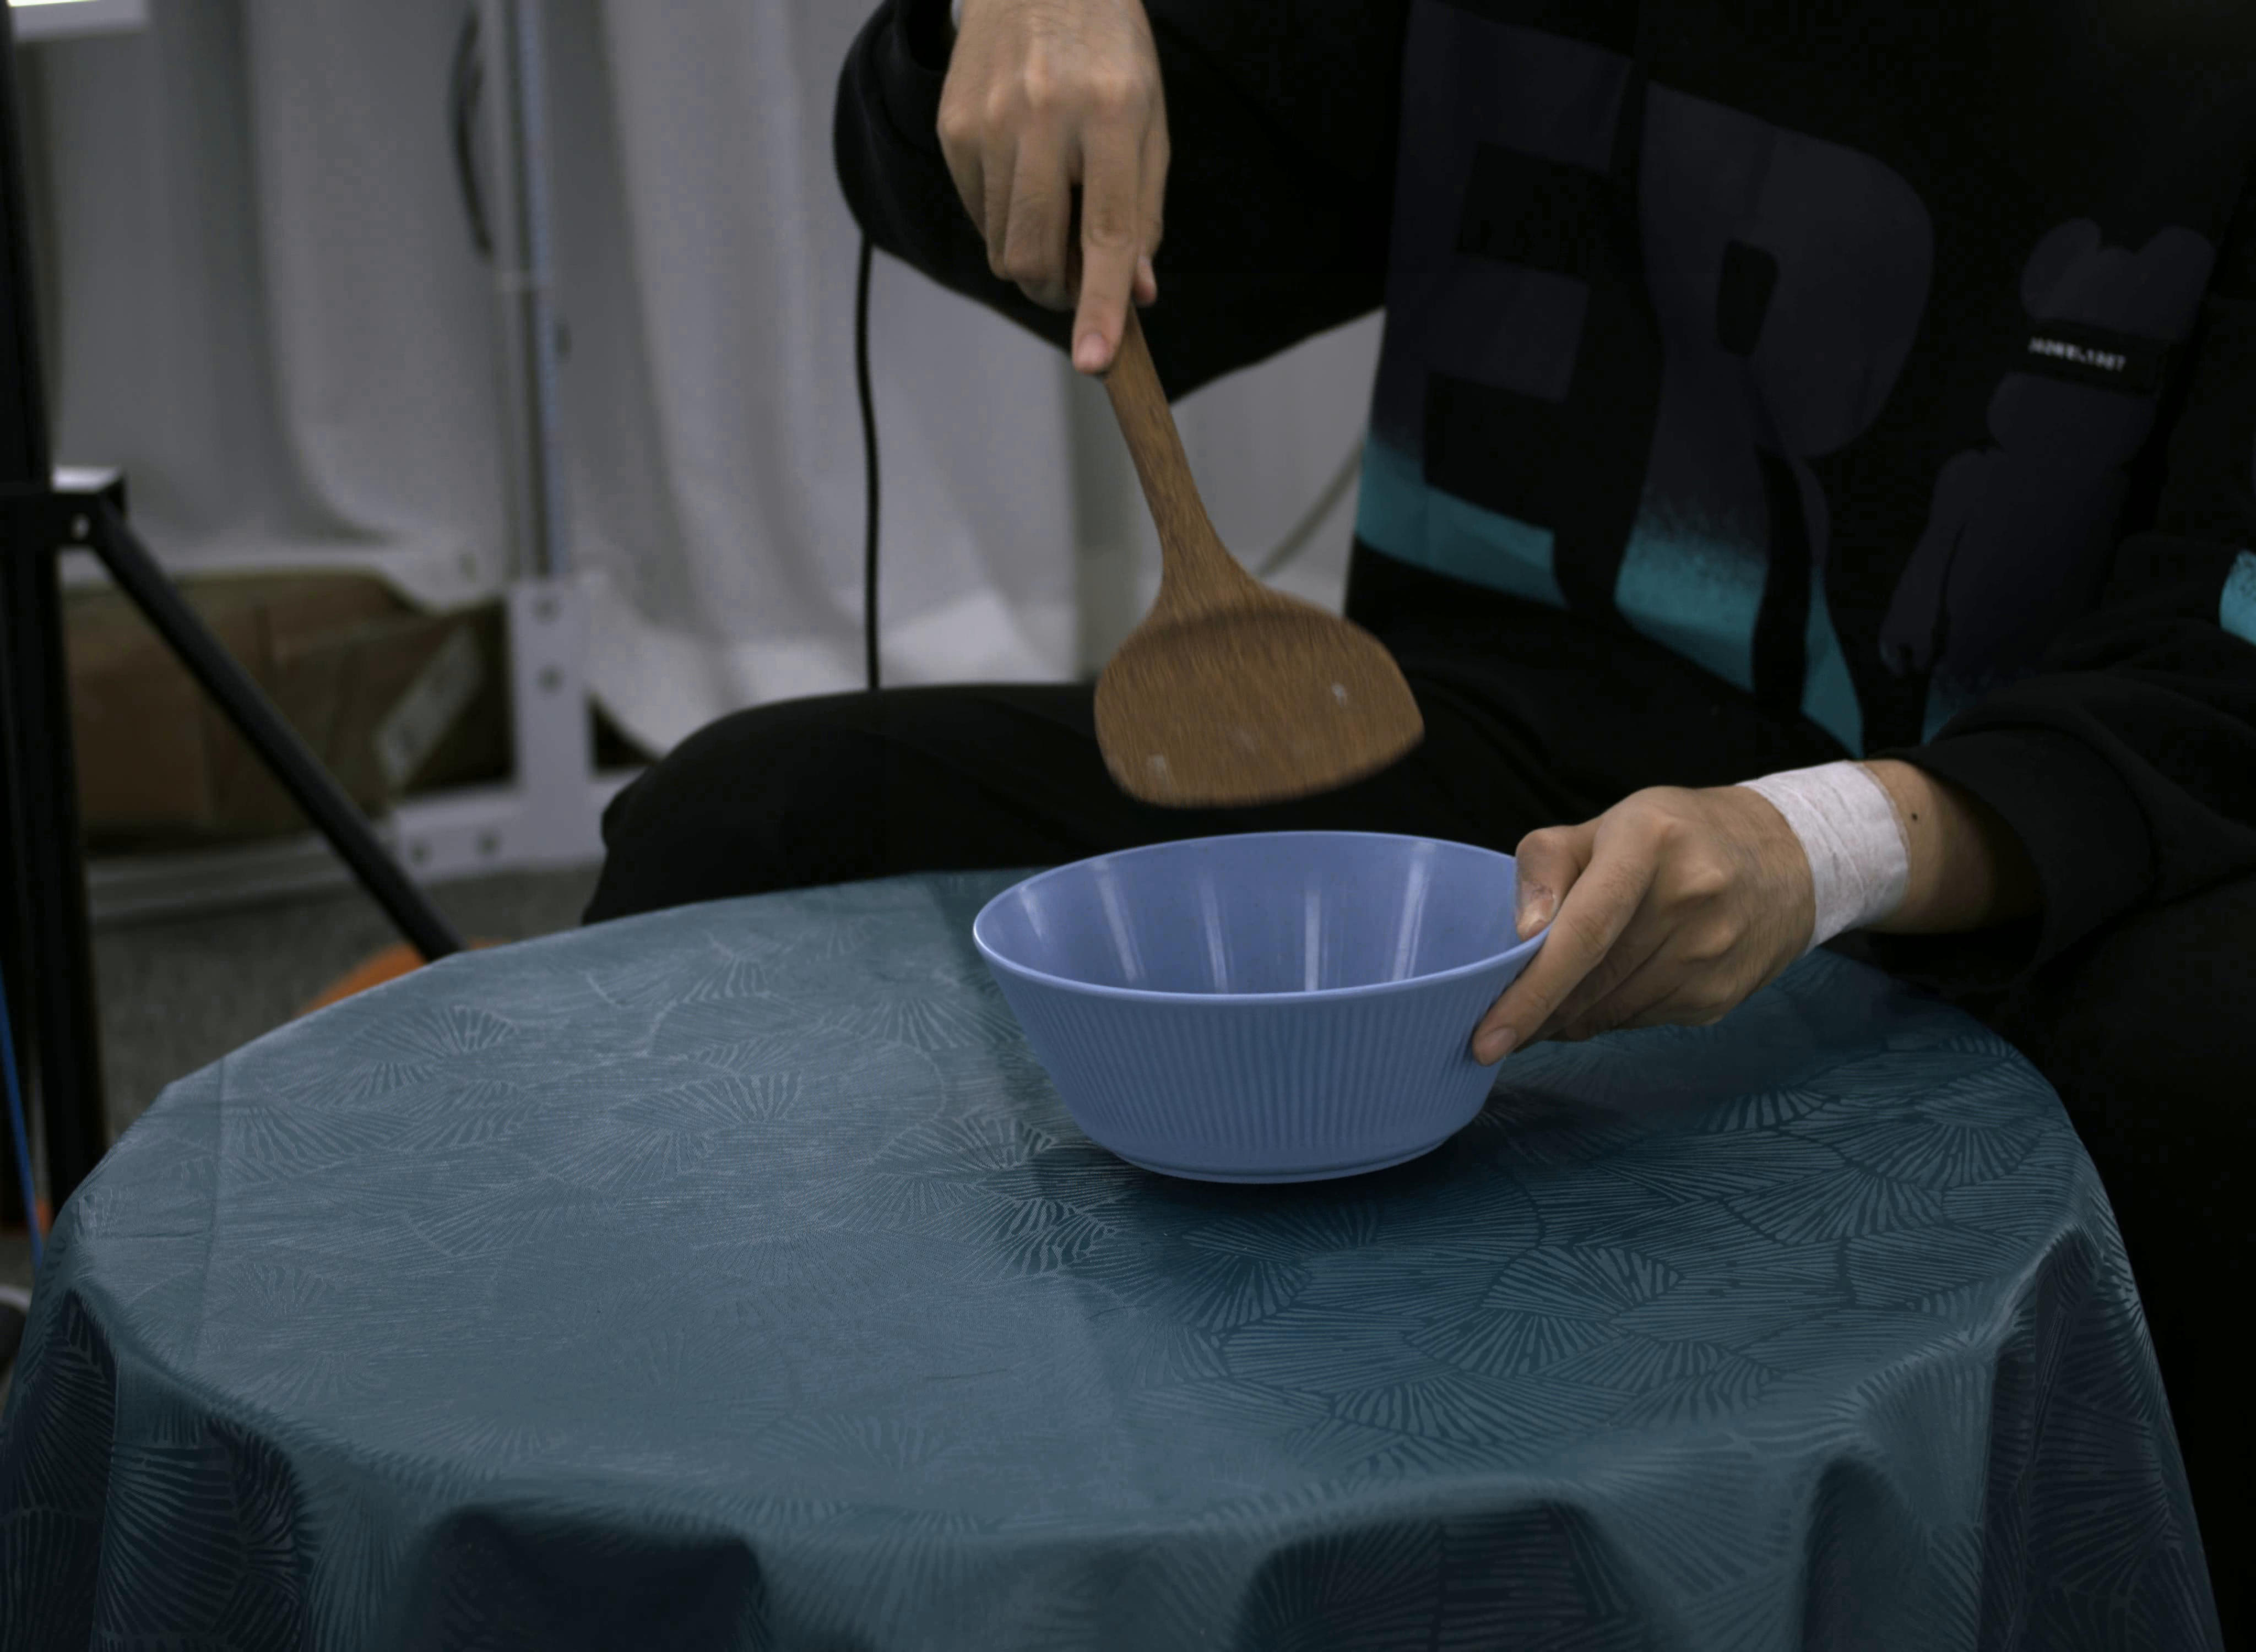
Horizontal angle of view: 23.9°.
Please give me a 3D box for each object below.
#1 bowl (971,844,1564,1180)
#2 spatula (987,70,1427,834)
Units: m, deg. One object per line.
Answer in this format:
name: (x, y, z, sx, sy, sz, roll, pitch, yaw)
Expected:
bowl: (0.042, 0.057, 1.575, 0.175, 0.070, 0.177, -3, 14, -1)
spatula: (0.005, -0.129, 1.678, 0.095, 0.015, 0.392, -11, 44, -6)
